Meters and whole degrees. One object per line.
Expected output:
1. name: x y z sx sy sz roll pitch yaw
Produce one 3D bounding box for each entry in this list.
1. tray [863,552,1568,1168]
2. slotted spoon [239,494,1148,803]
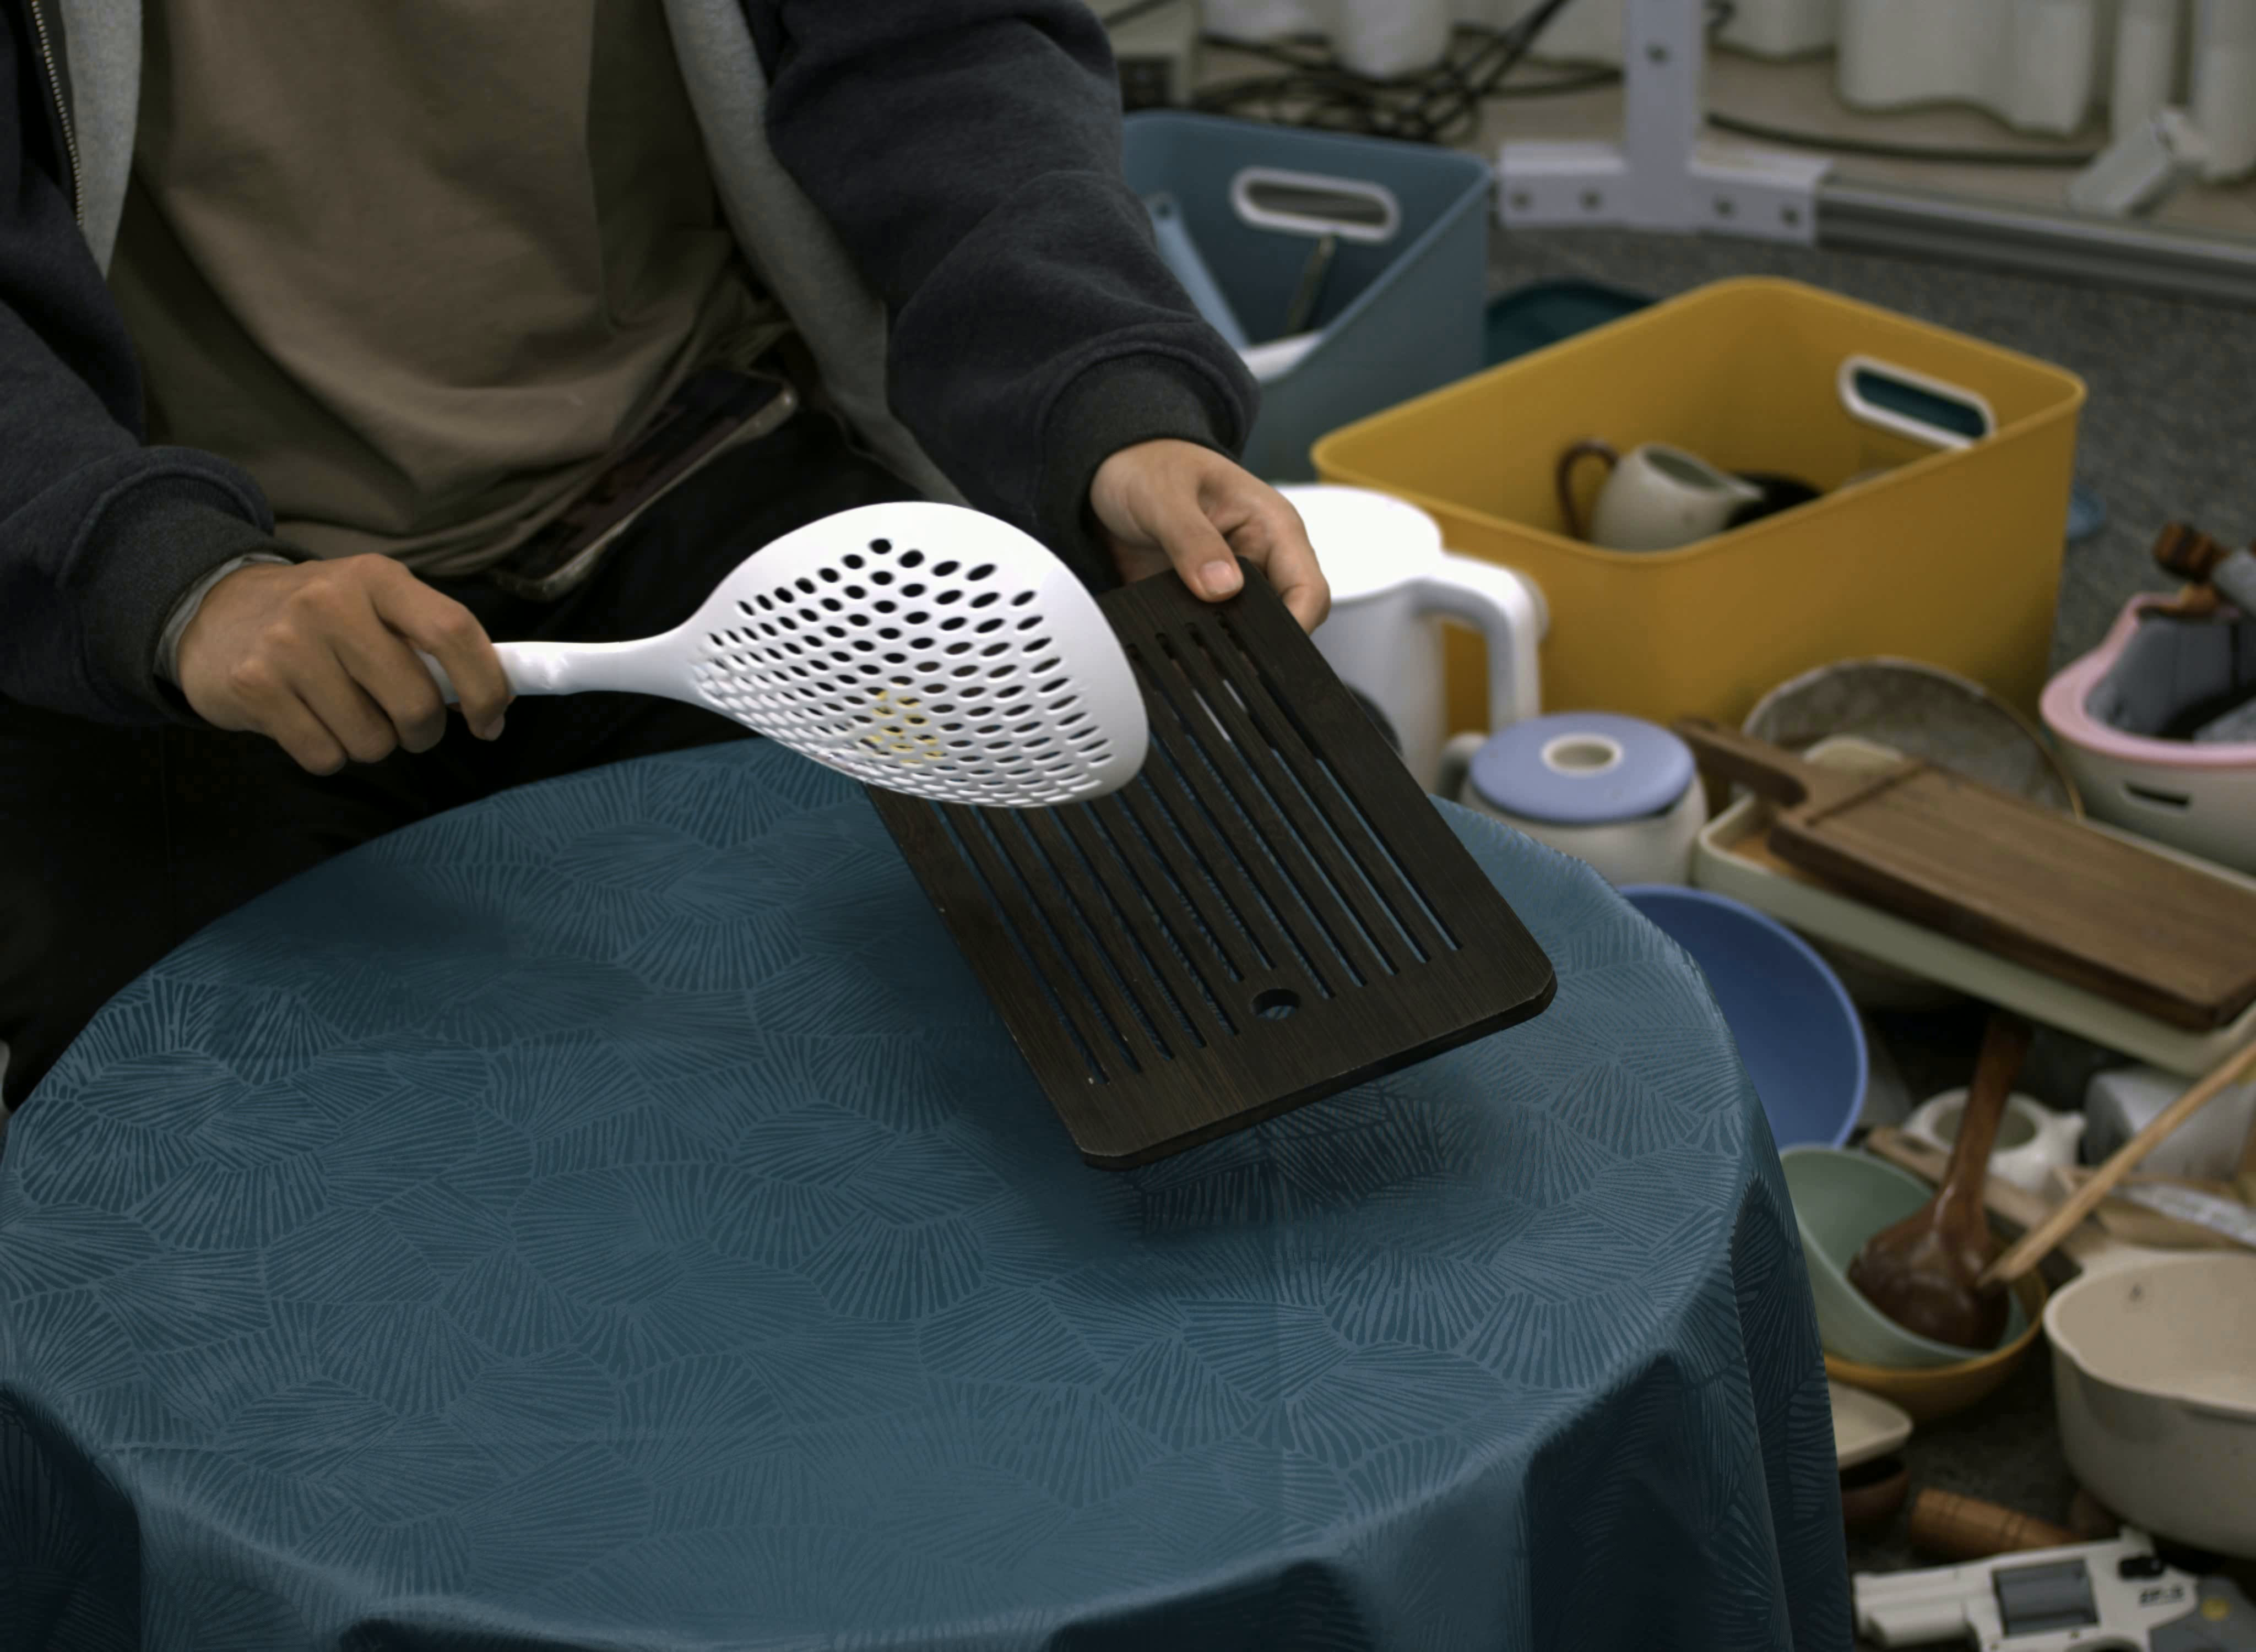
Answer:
1. tray: 0.019 0.008 1.943 0.170 0.018 0.309 -20 36 -10
2. slotted spoon: -0.155 -0.049 1.920 0.345 0.135 0.051 3 46 32
